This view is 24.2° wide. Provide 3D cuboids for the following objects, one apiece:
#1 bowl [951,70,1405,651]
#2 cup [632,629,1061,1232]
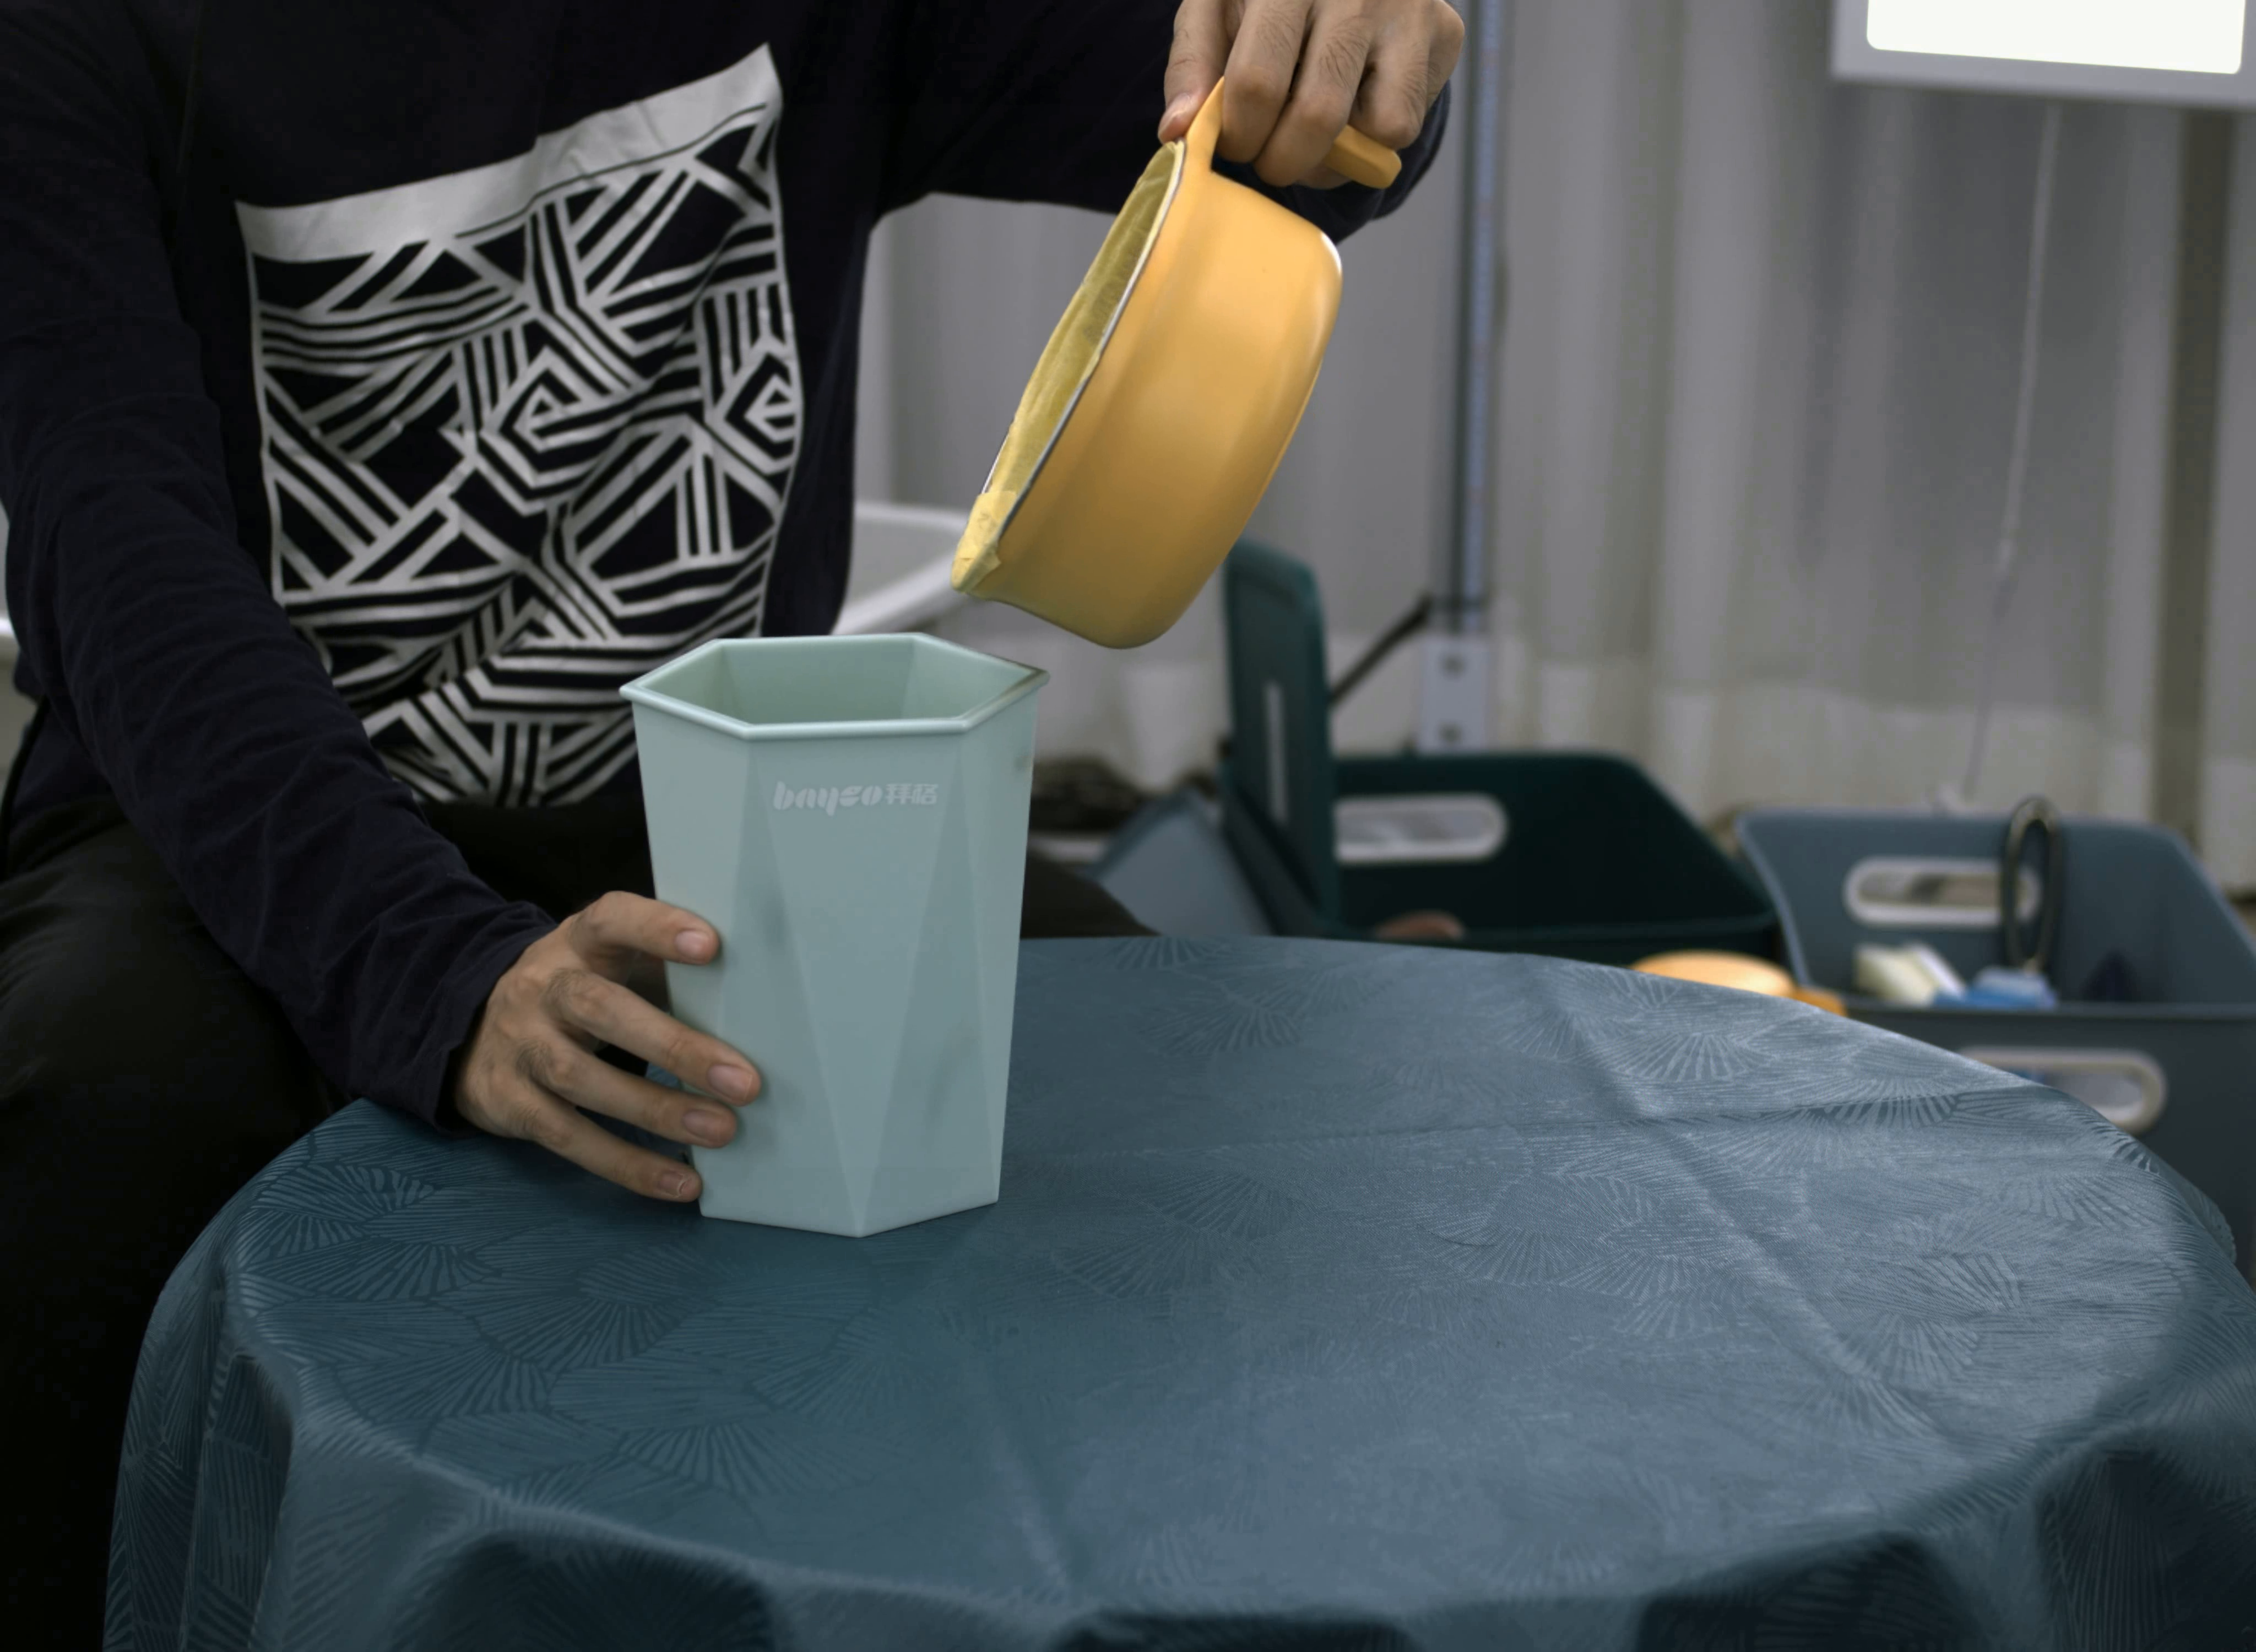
[{"bbox_3d":[0.016,-0.137,1.581,0.074,0.179,0.153,25,-12,-4],"label":"bowl"},{"bbox_3d":[-0.086,0.031,1.607,0.131,0.164,0.114,-2,15,-11],"label":"cup"}]
